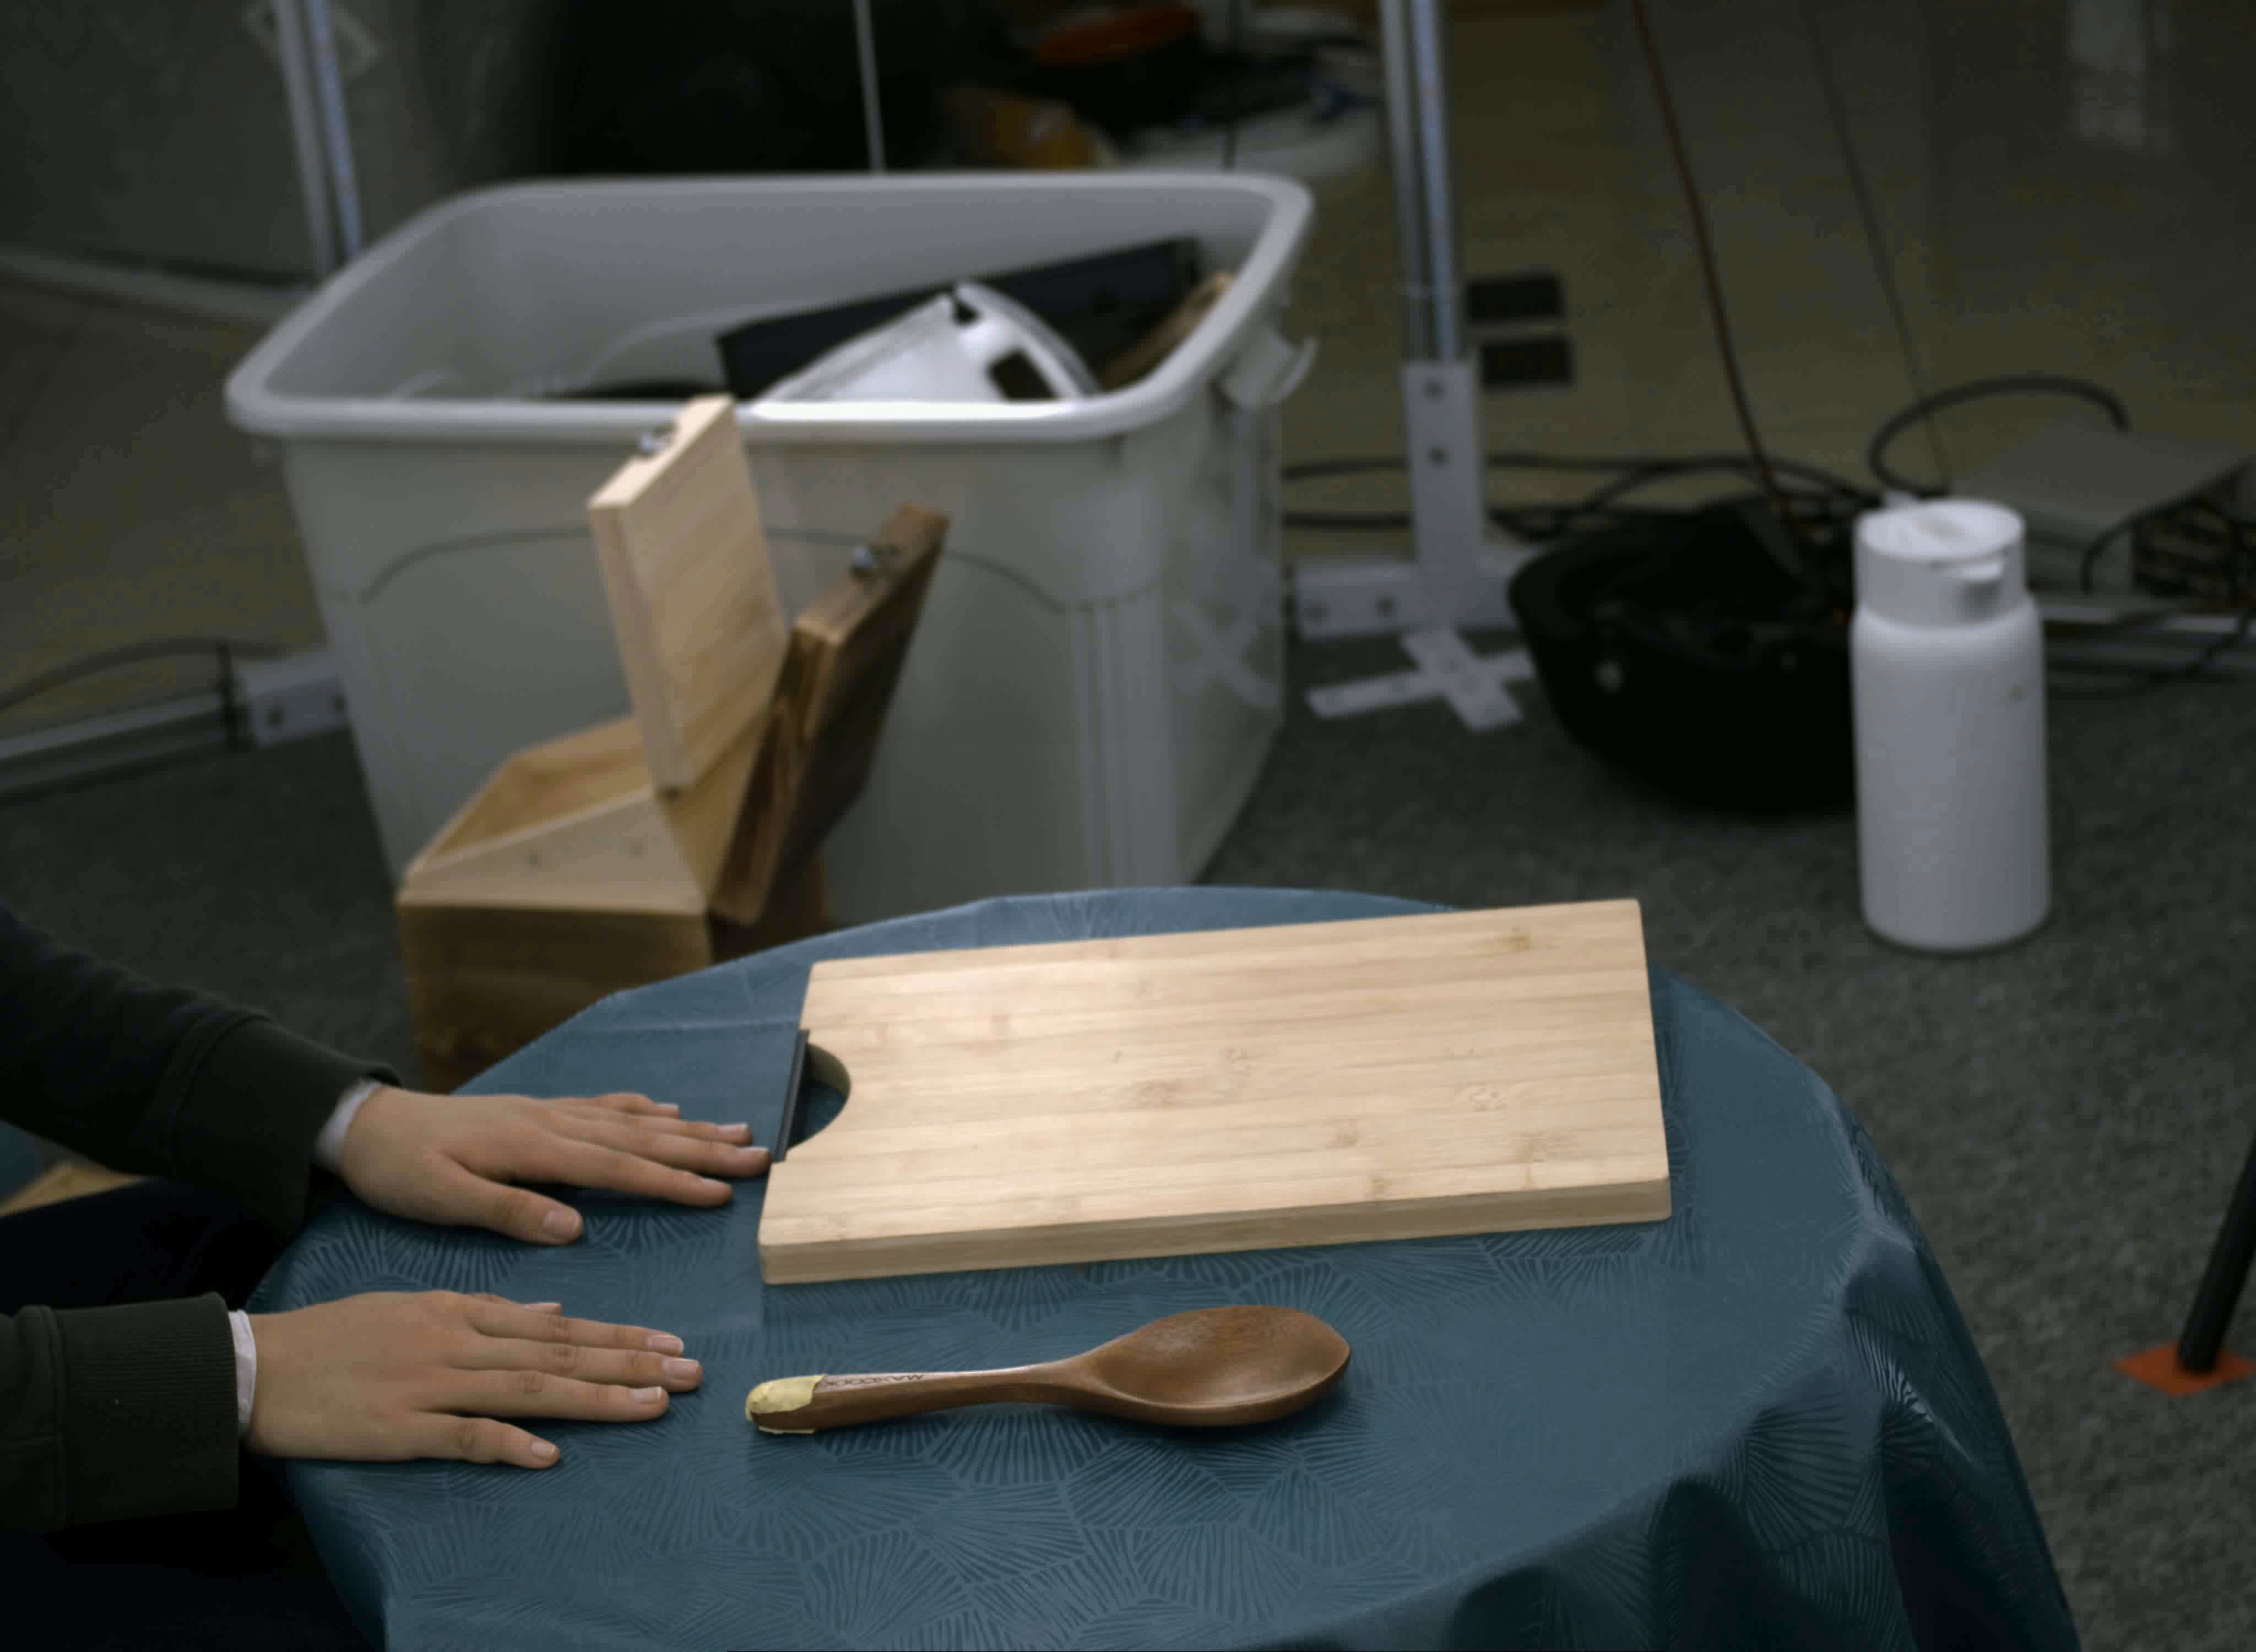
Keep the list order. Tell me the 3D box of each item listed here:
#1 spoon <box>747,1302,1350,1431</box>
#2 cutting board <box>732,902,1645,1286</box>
[{"bbox_3d":[-0.028,0.198,2.013,0.215,0.017,0.074,-4,27,4],"label":"spoon"},{"bbox_3d":[0.029,0.102,2.206,0.348,0.024,0.247,-5,24,4],"label":"cutting board"}]
